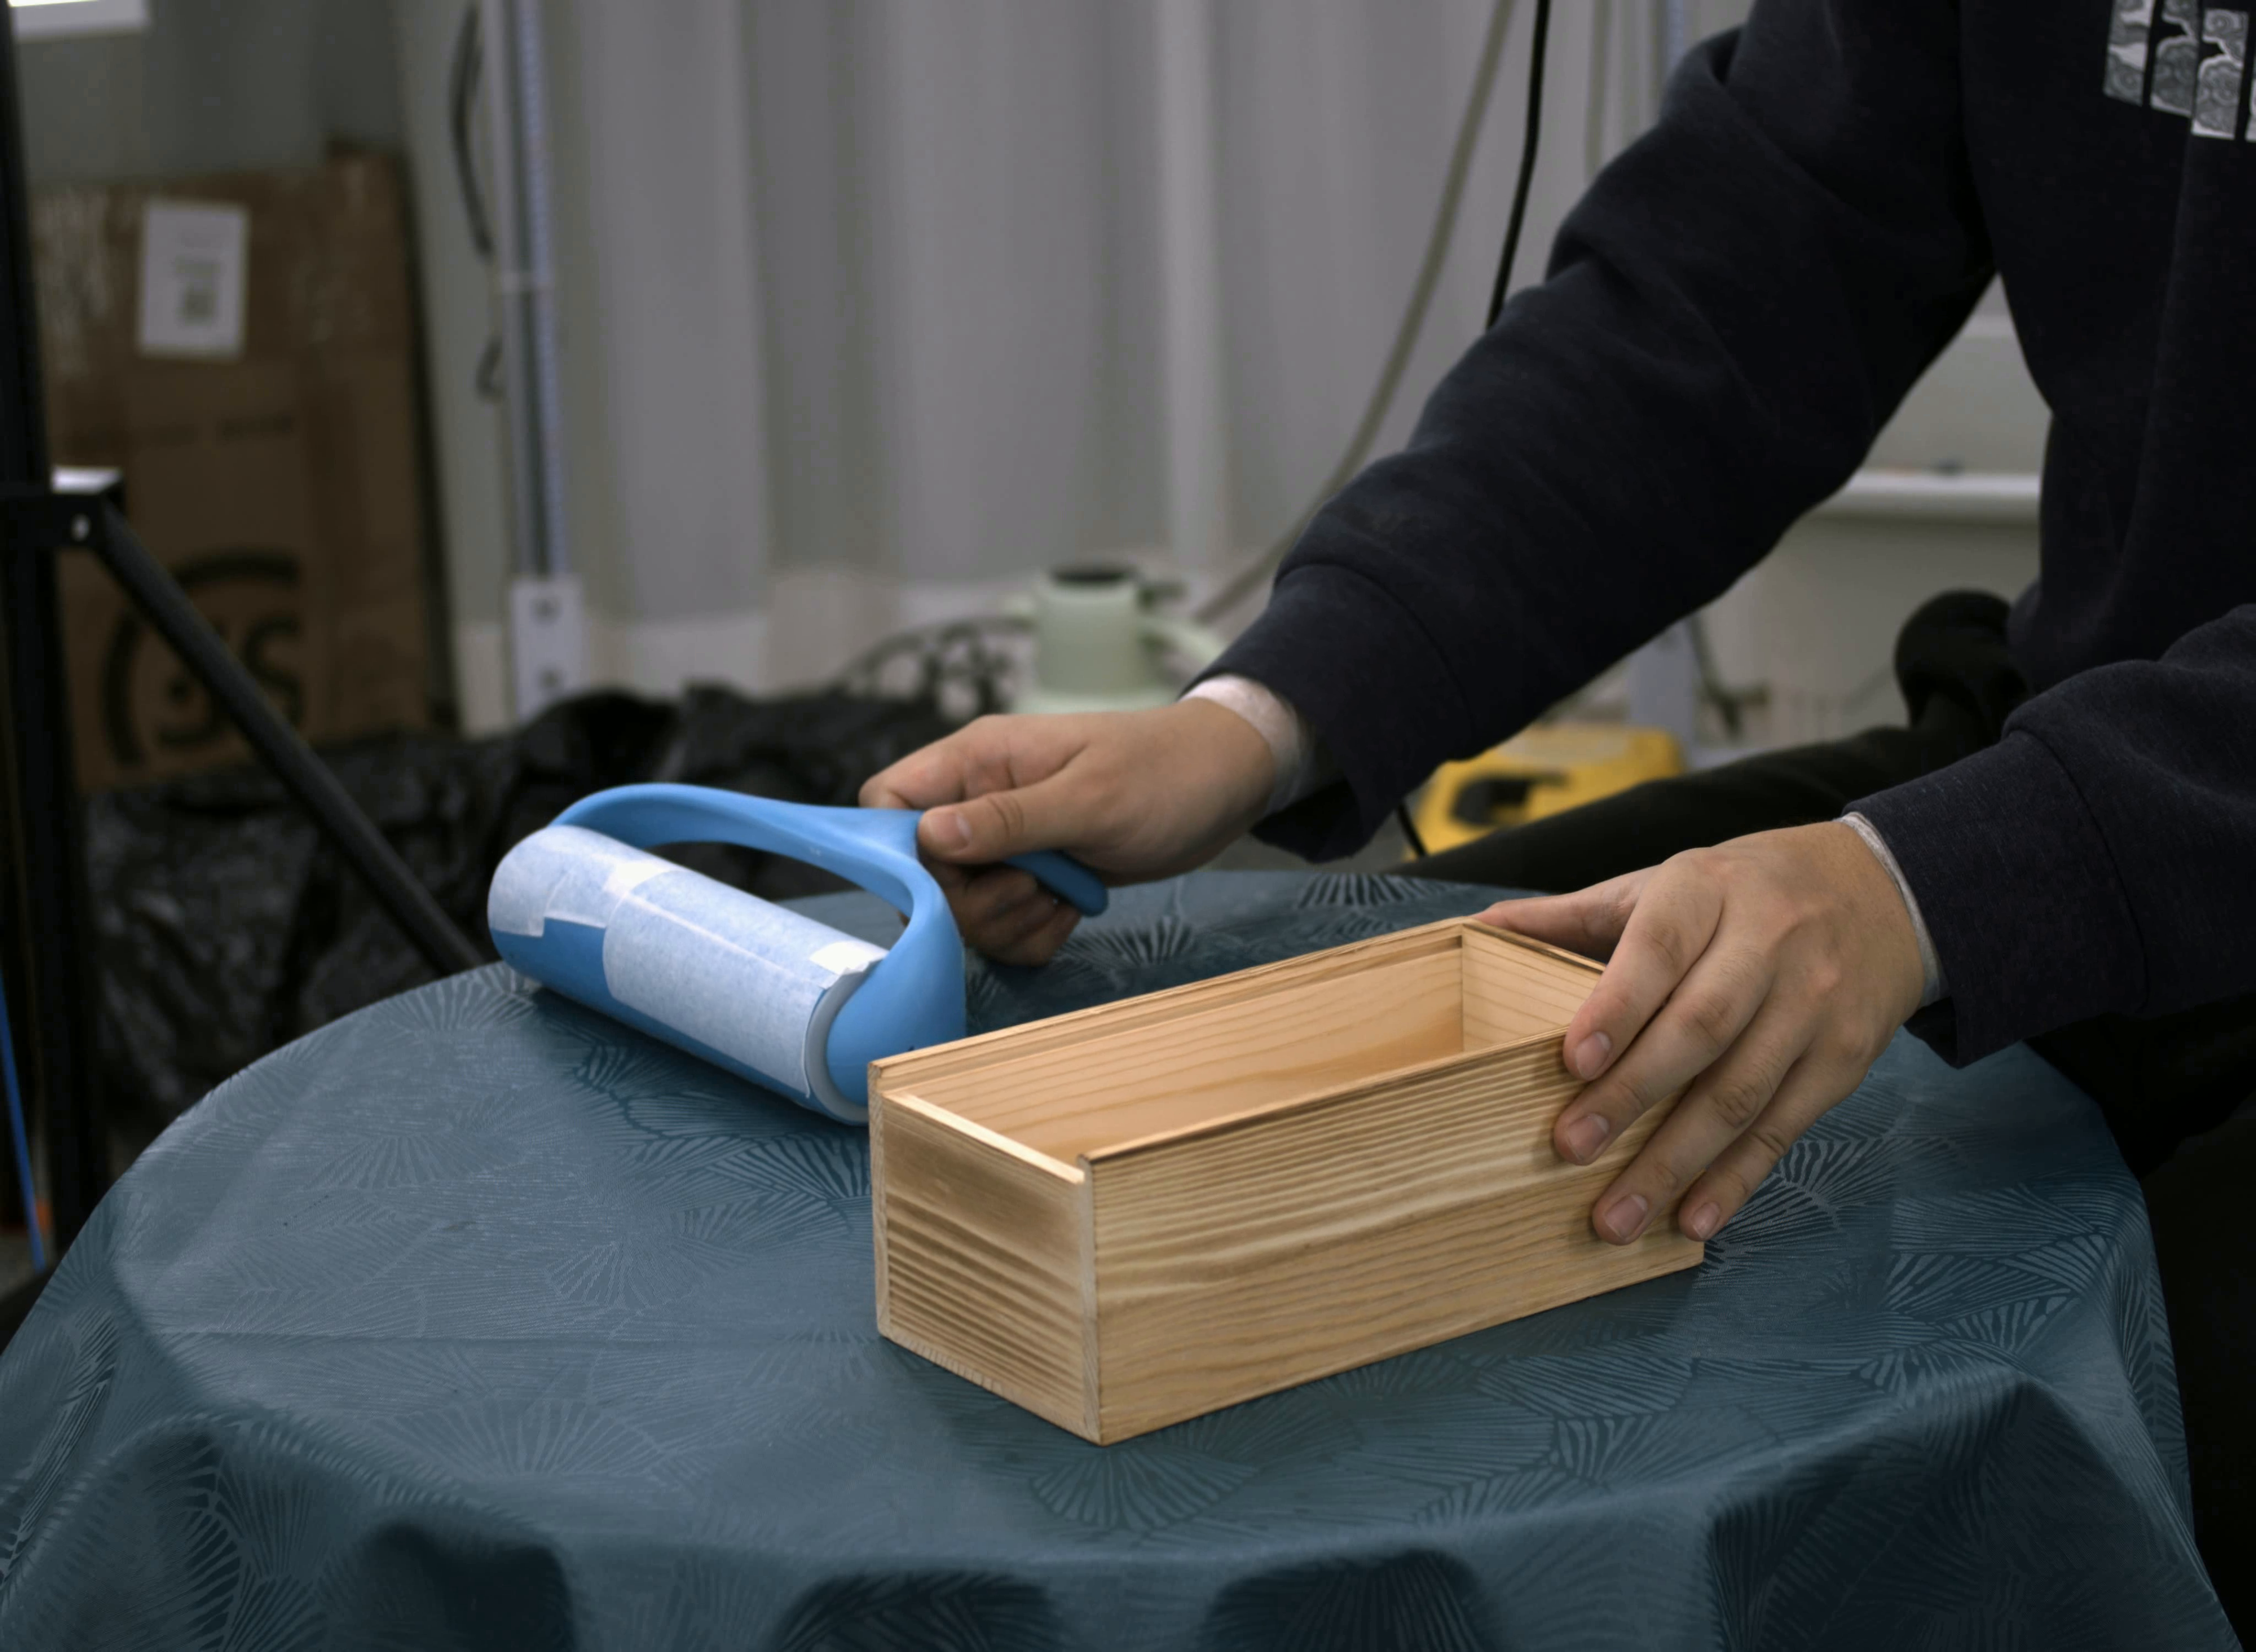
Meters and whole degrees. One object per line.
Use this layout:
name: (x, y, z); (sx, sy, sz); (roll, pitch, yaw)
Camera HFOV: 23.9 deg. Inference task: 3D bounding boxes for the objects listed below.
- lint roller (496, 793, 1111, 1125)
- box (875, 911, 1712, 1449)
lint roller: (-0.085, 0.027, 1.725); (0.177, 0.068, 0.234); (-23, 22, -31)
box: (0.047, 0.093, 1.457); (0.206, 0.080, 0.110); (-13, 19, -33)
